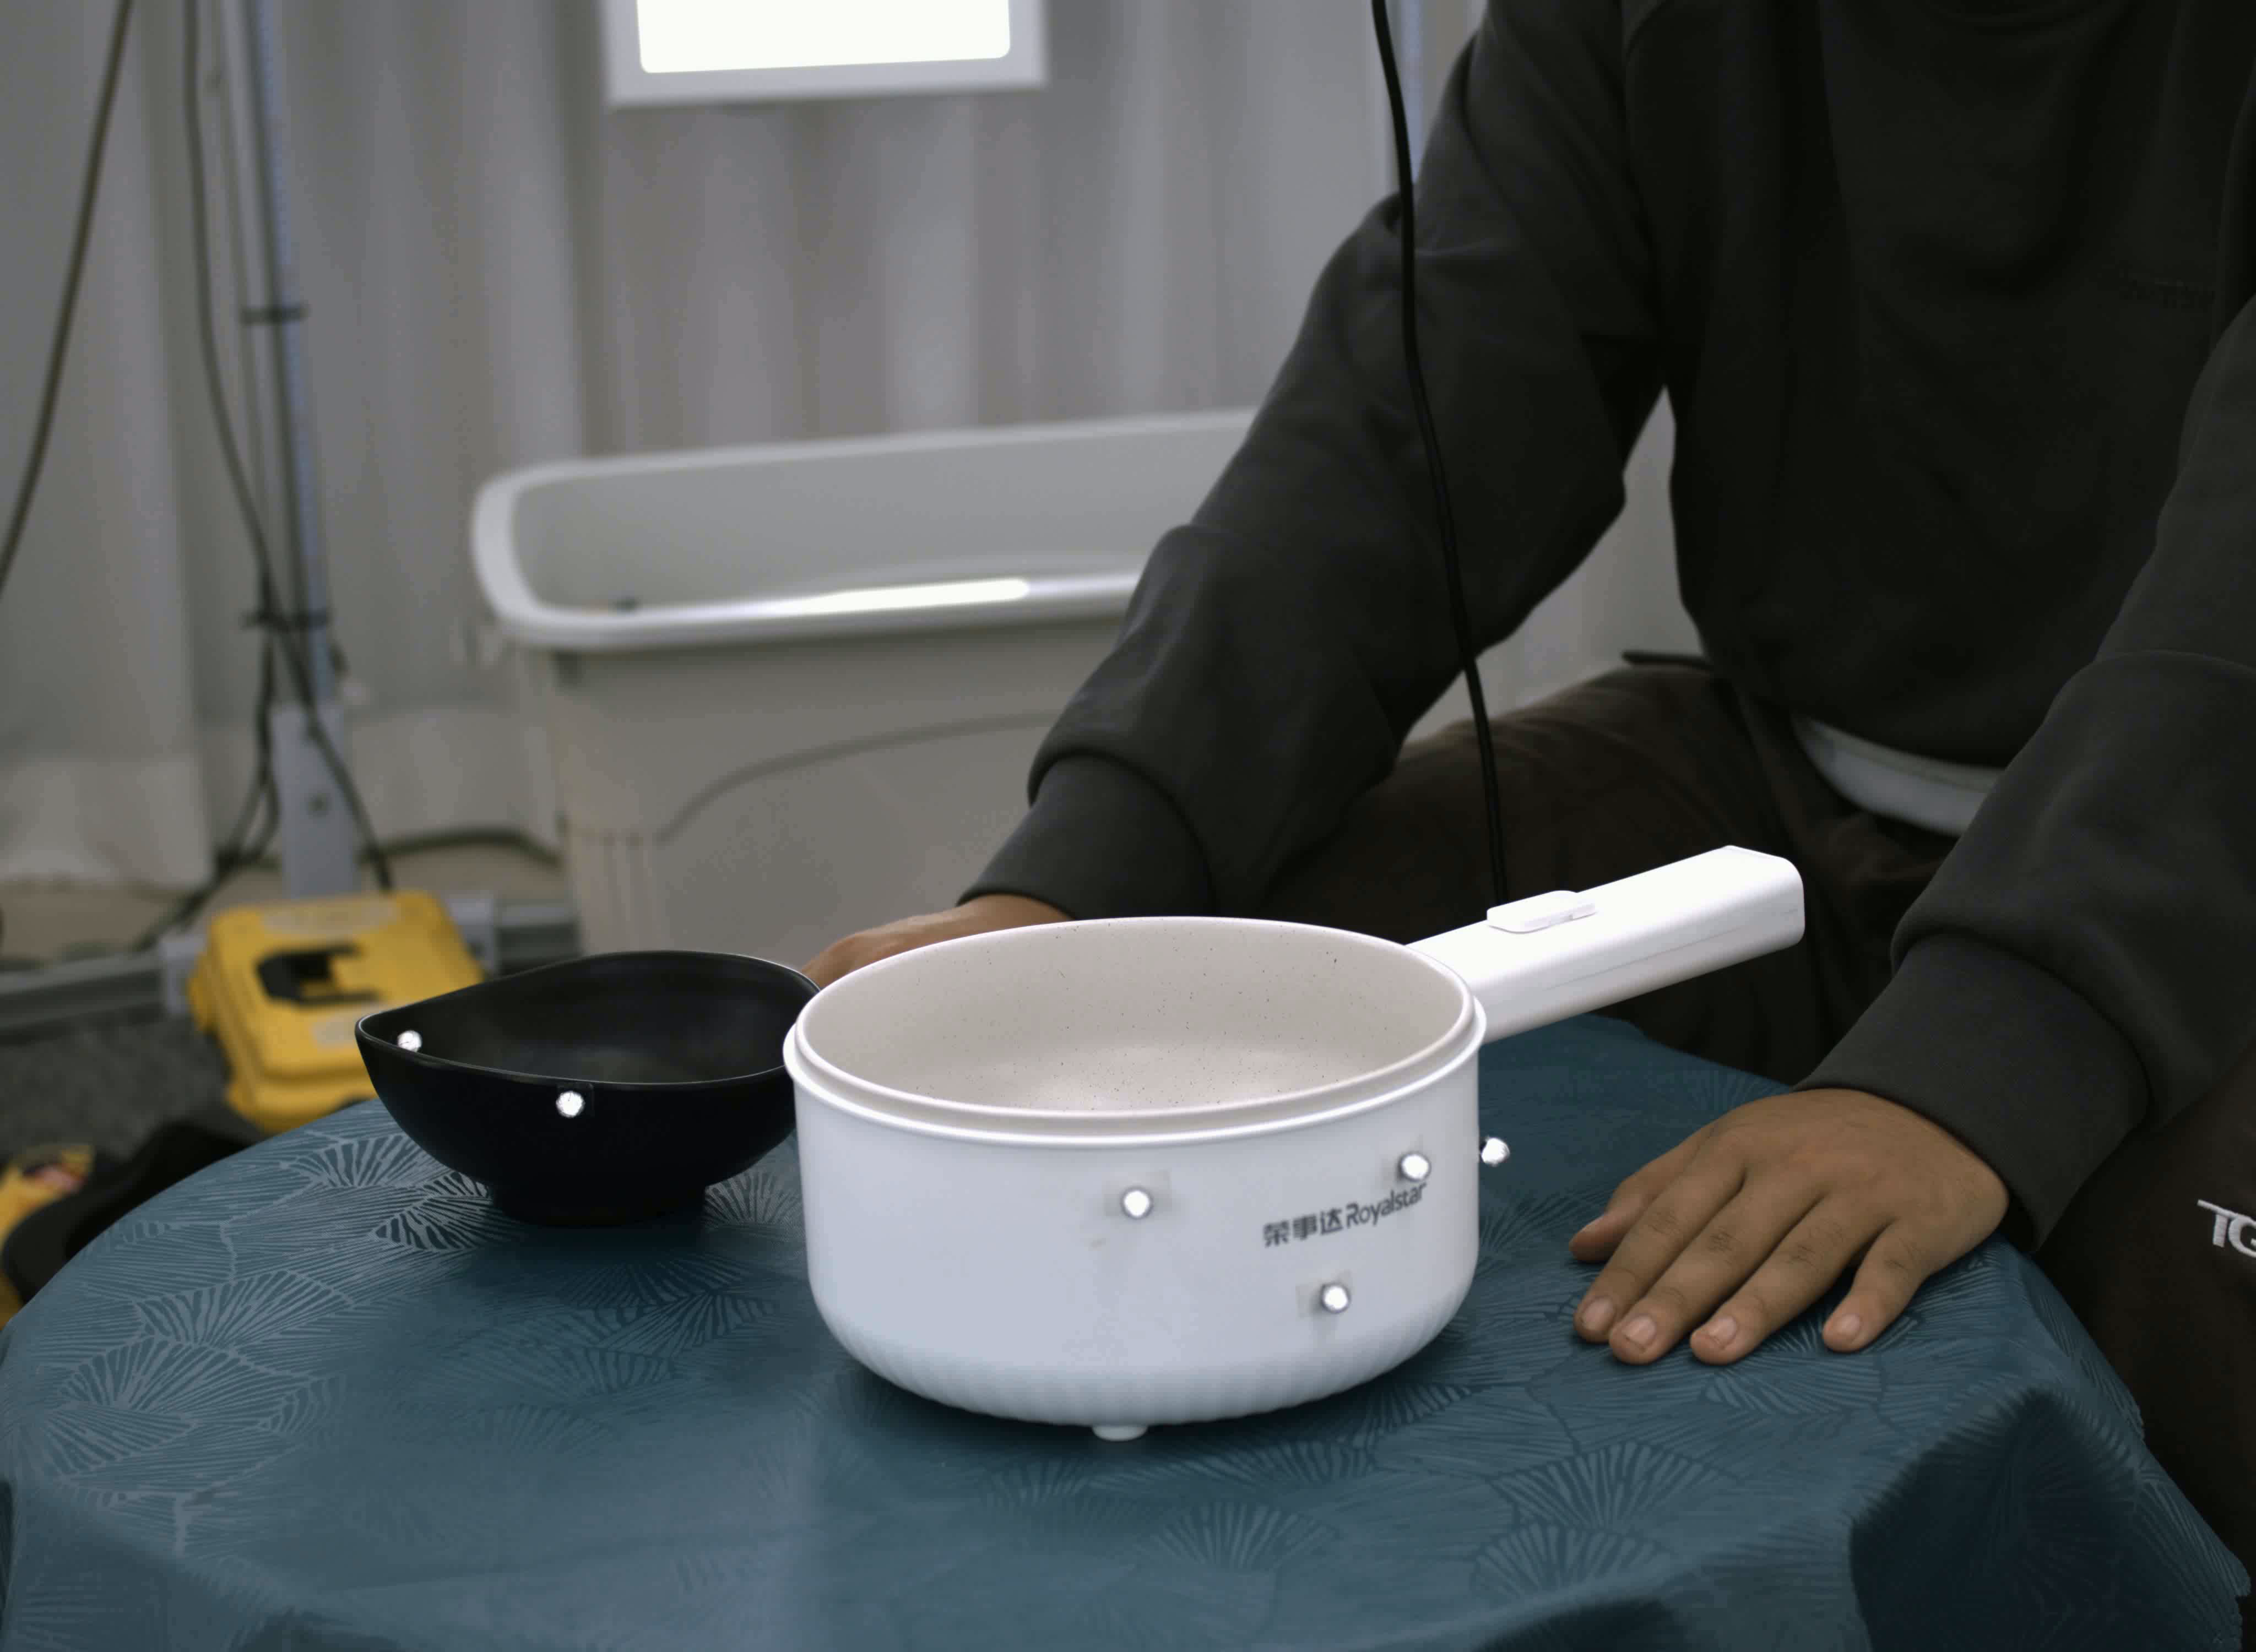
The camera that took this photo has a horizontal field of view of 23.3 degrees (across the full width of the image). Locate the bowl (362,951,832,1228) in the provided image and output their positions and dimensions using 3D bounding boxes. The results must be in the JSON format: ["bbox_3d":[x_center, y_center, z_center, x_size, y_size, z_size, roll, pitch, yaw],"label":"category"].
[{"bbox_3d":[-0.168,0.087,1.726,0.171,0.066,0.137,10,19,44],"label":"bowl"}]

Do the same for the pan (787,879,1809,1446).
[{"bbox_3d":[0.063,0.093,1.620,0.353,0.102,0.202,-12,15,-38],"label":"pan"}]
